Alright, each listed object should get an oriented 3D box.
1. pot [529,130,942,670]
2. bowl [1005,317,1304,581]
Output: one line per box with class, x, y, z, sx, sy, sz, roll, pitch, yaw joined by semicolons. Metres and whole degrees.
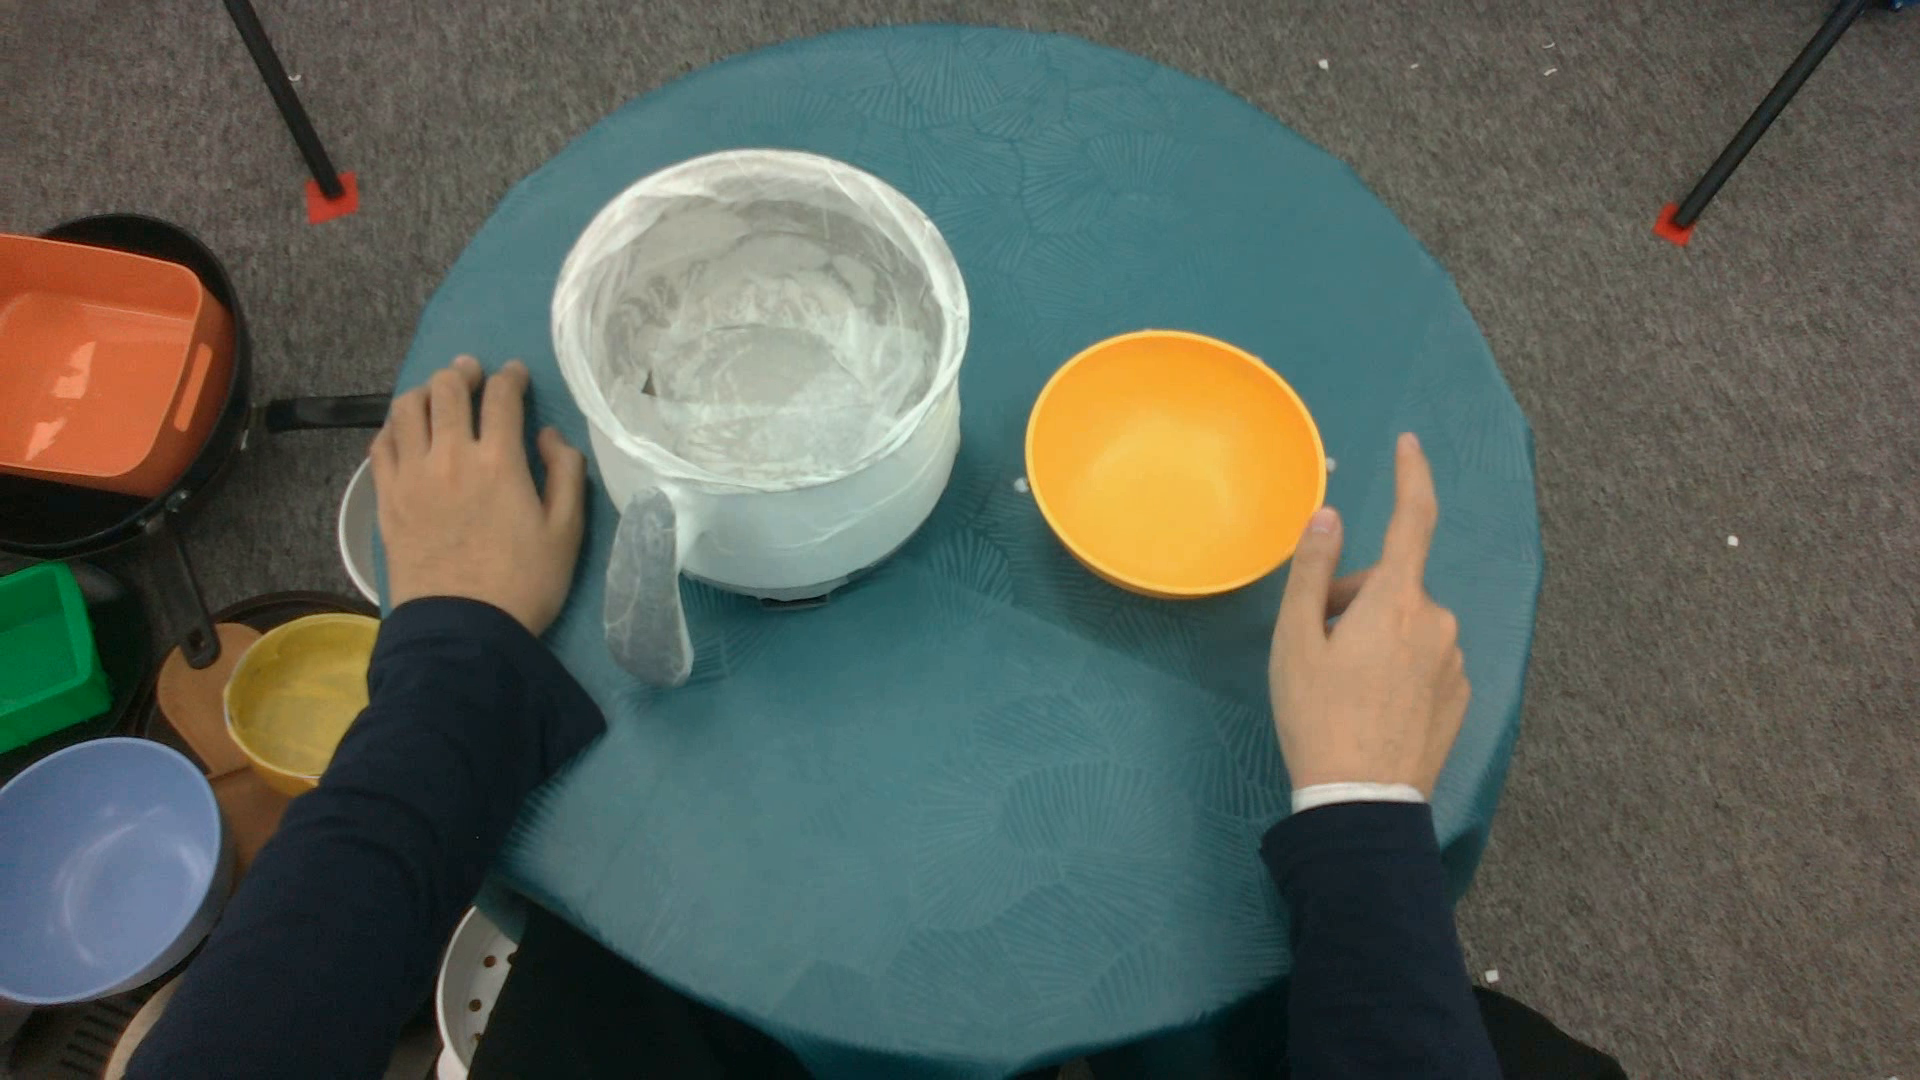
pot;-0.108;-0.058;0.636;0.178;0.136;0.234;19;64;8
bowl;0.092;-0.036;0.685;0.145;0.060;0.146;2;63;-3
